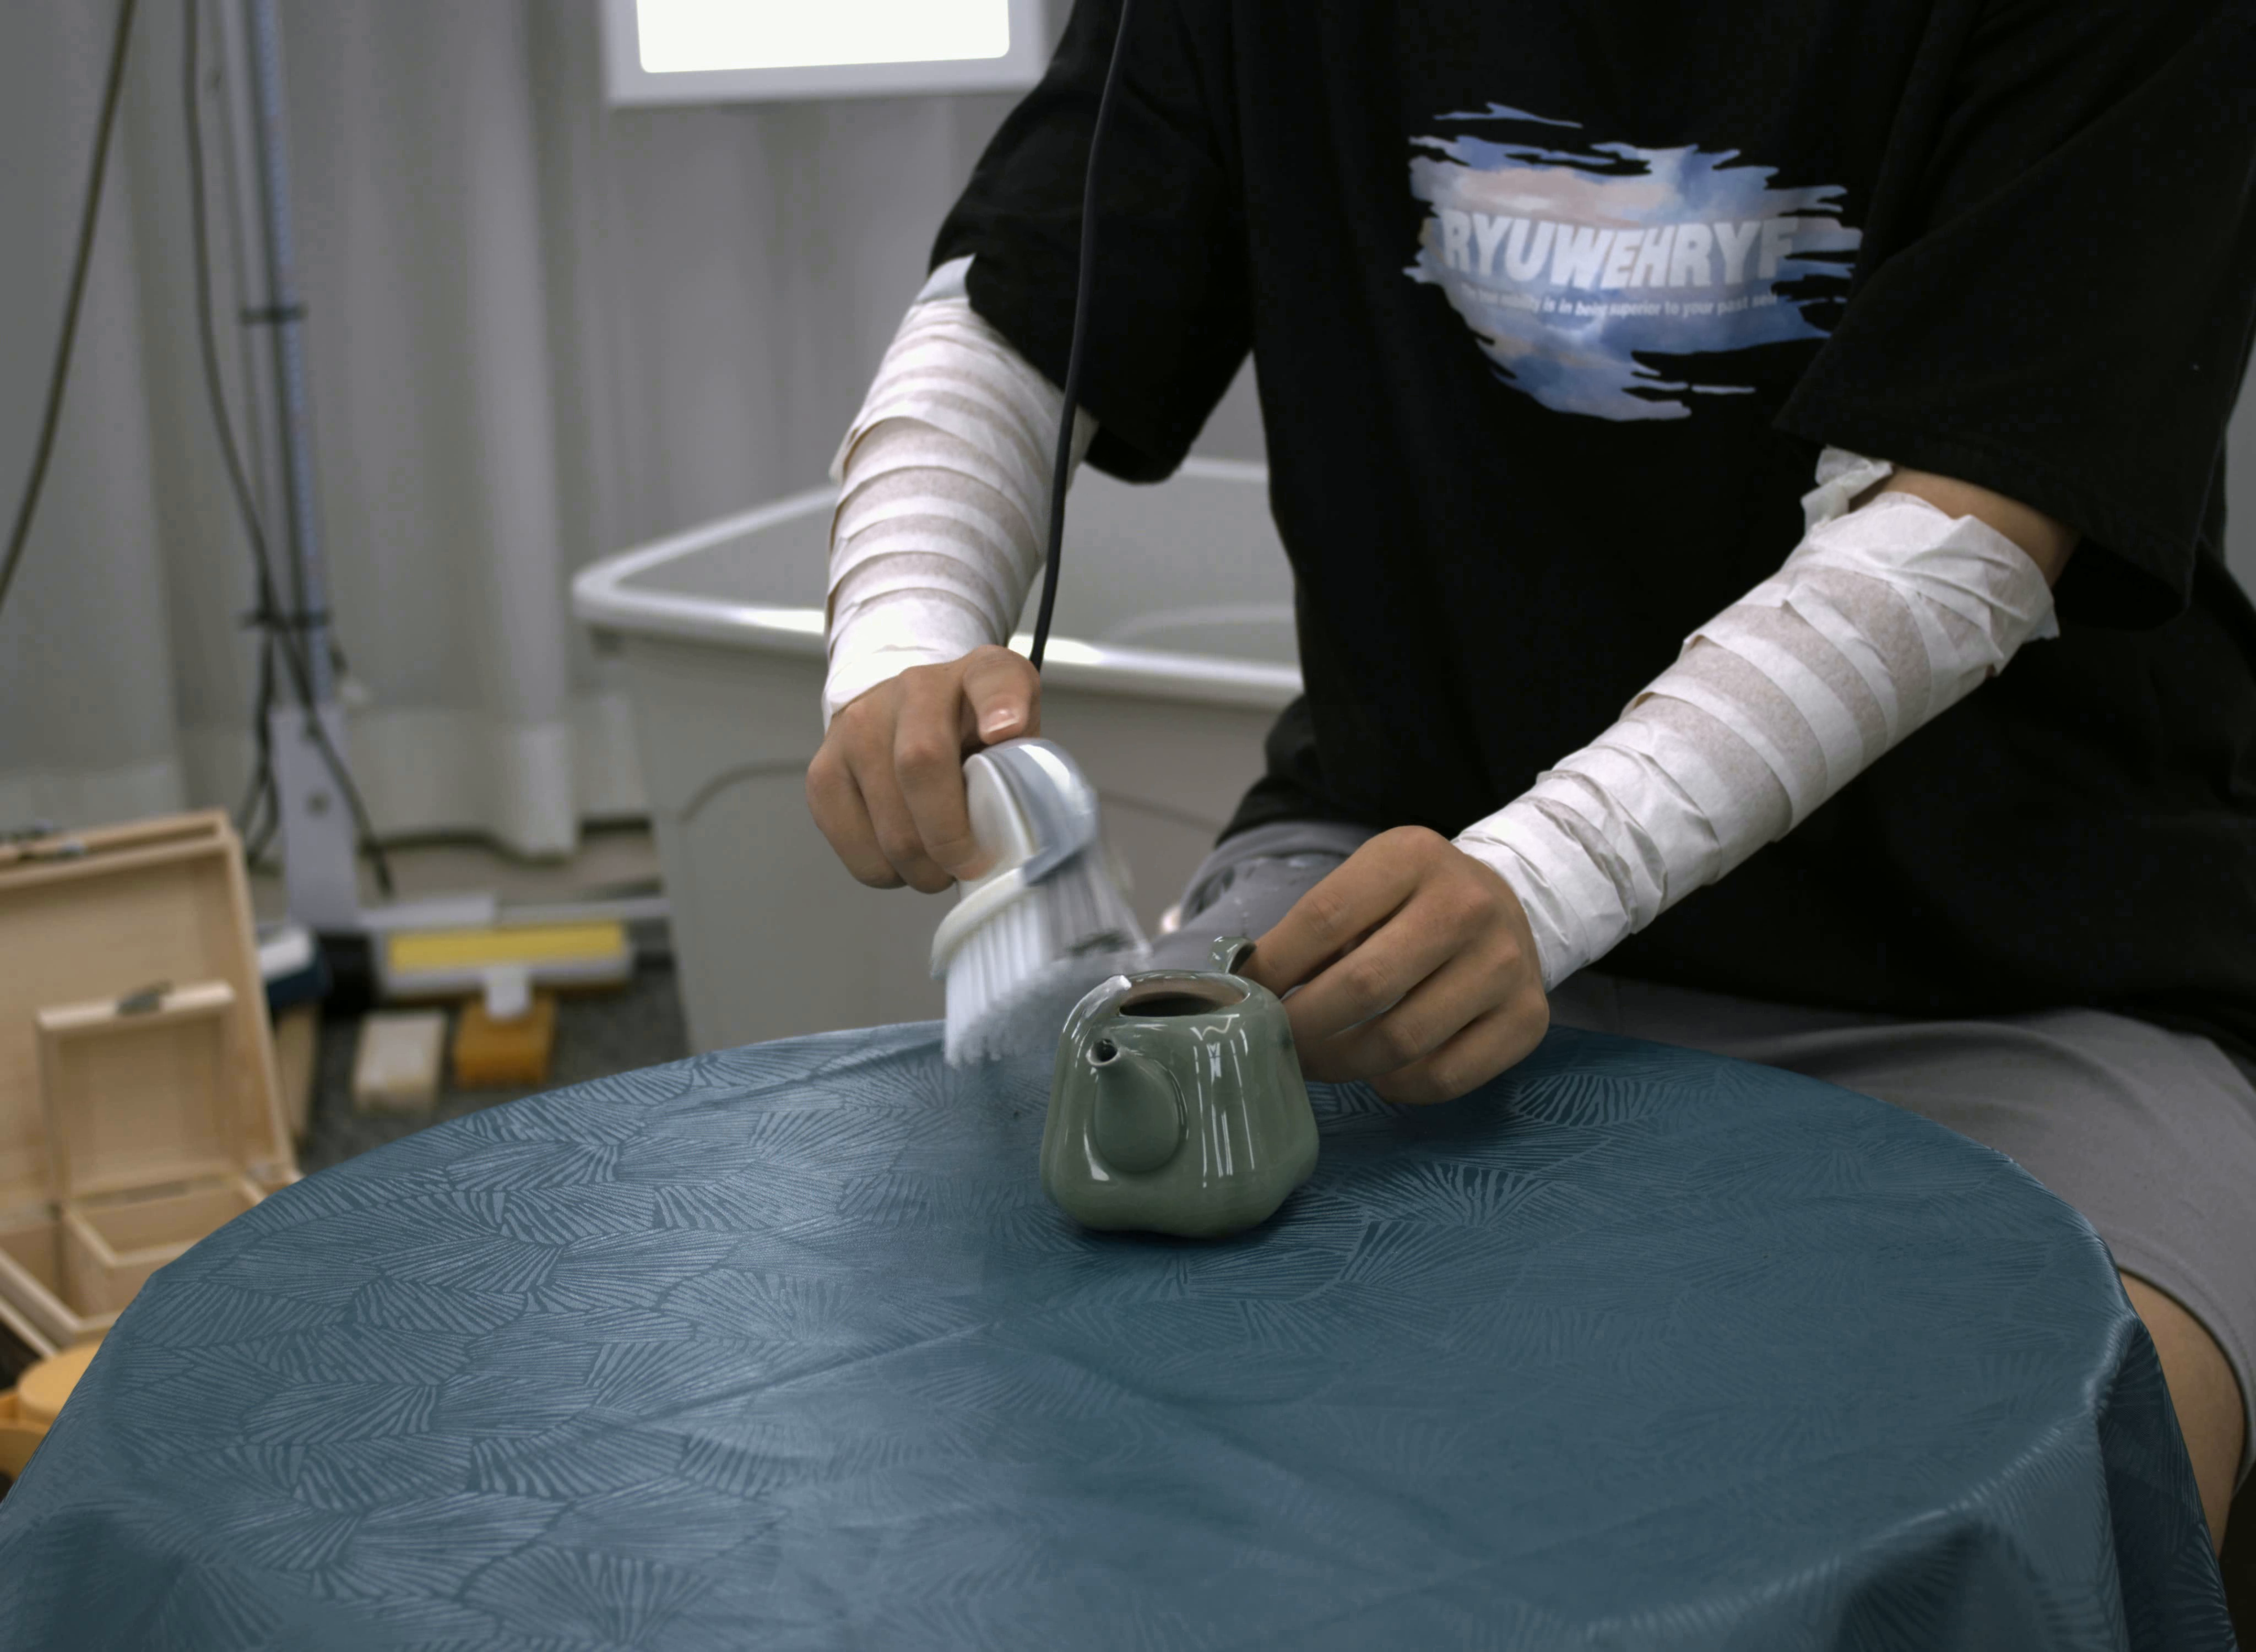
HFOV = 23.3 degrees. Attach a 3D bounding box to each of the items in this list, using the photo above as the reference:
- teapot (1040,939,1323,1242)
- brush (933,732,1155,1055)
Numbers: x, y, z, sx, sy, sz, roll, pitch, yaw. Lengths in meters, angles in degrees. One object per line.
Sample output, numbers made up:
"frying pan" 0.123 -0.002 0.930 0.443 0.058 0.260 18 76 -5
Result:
"teapot" 0.017 0.084 1.686 0.080 0.075 0.132 6 15 24
"brush" -0.029 0.014 1.737 0.061 0.095 0.175 -14 -9 -11
